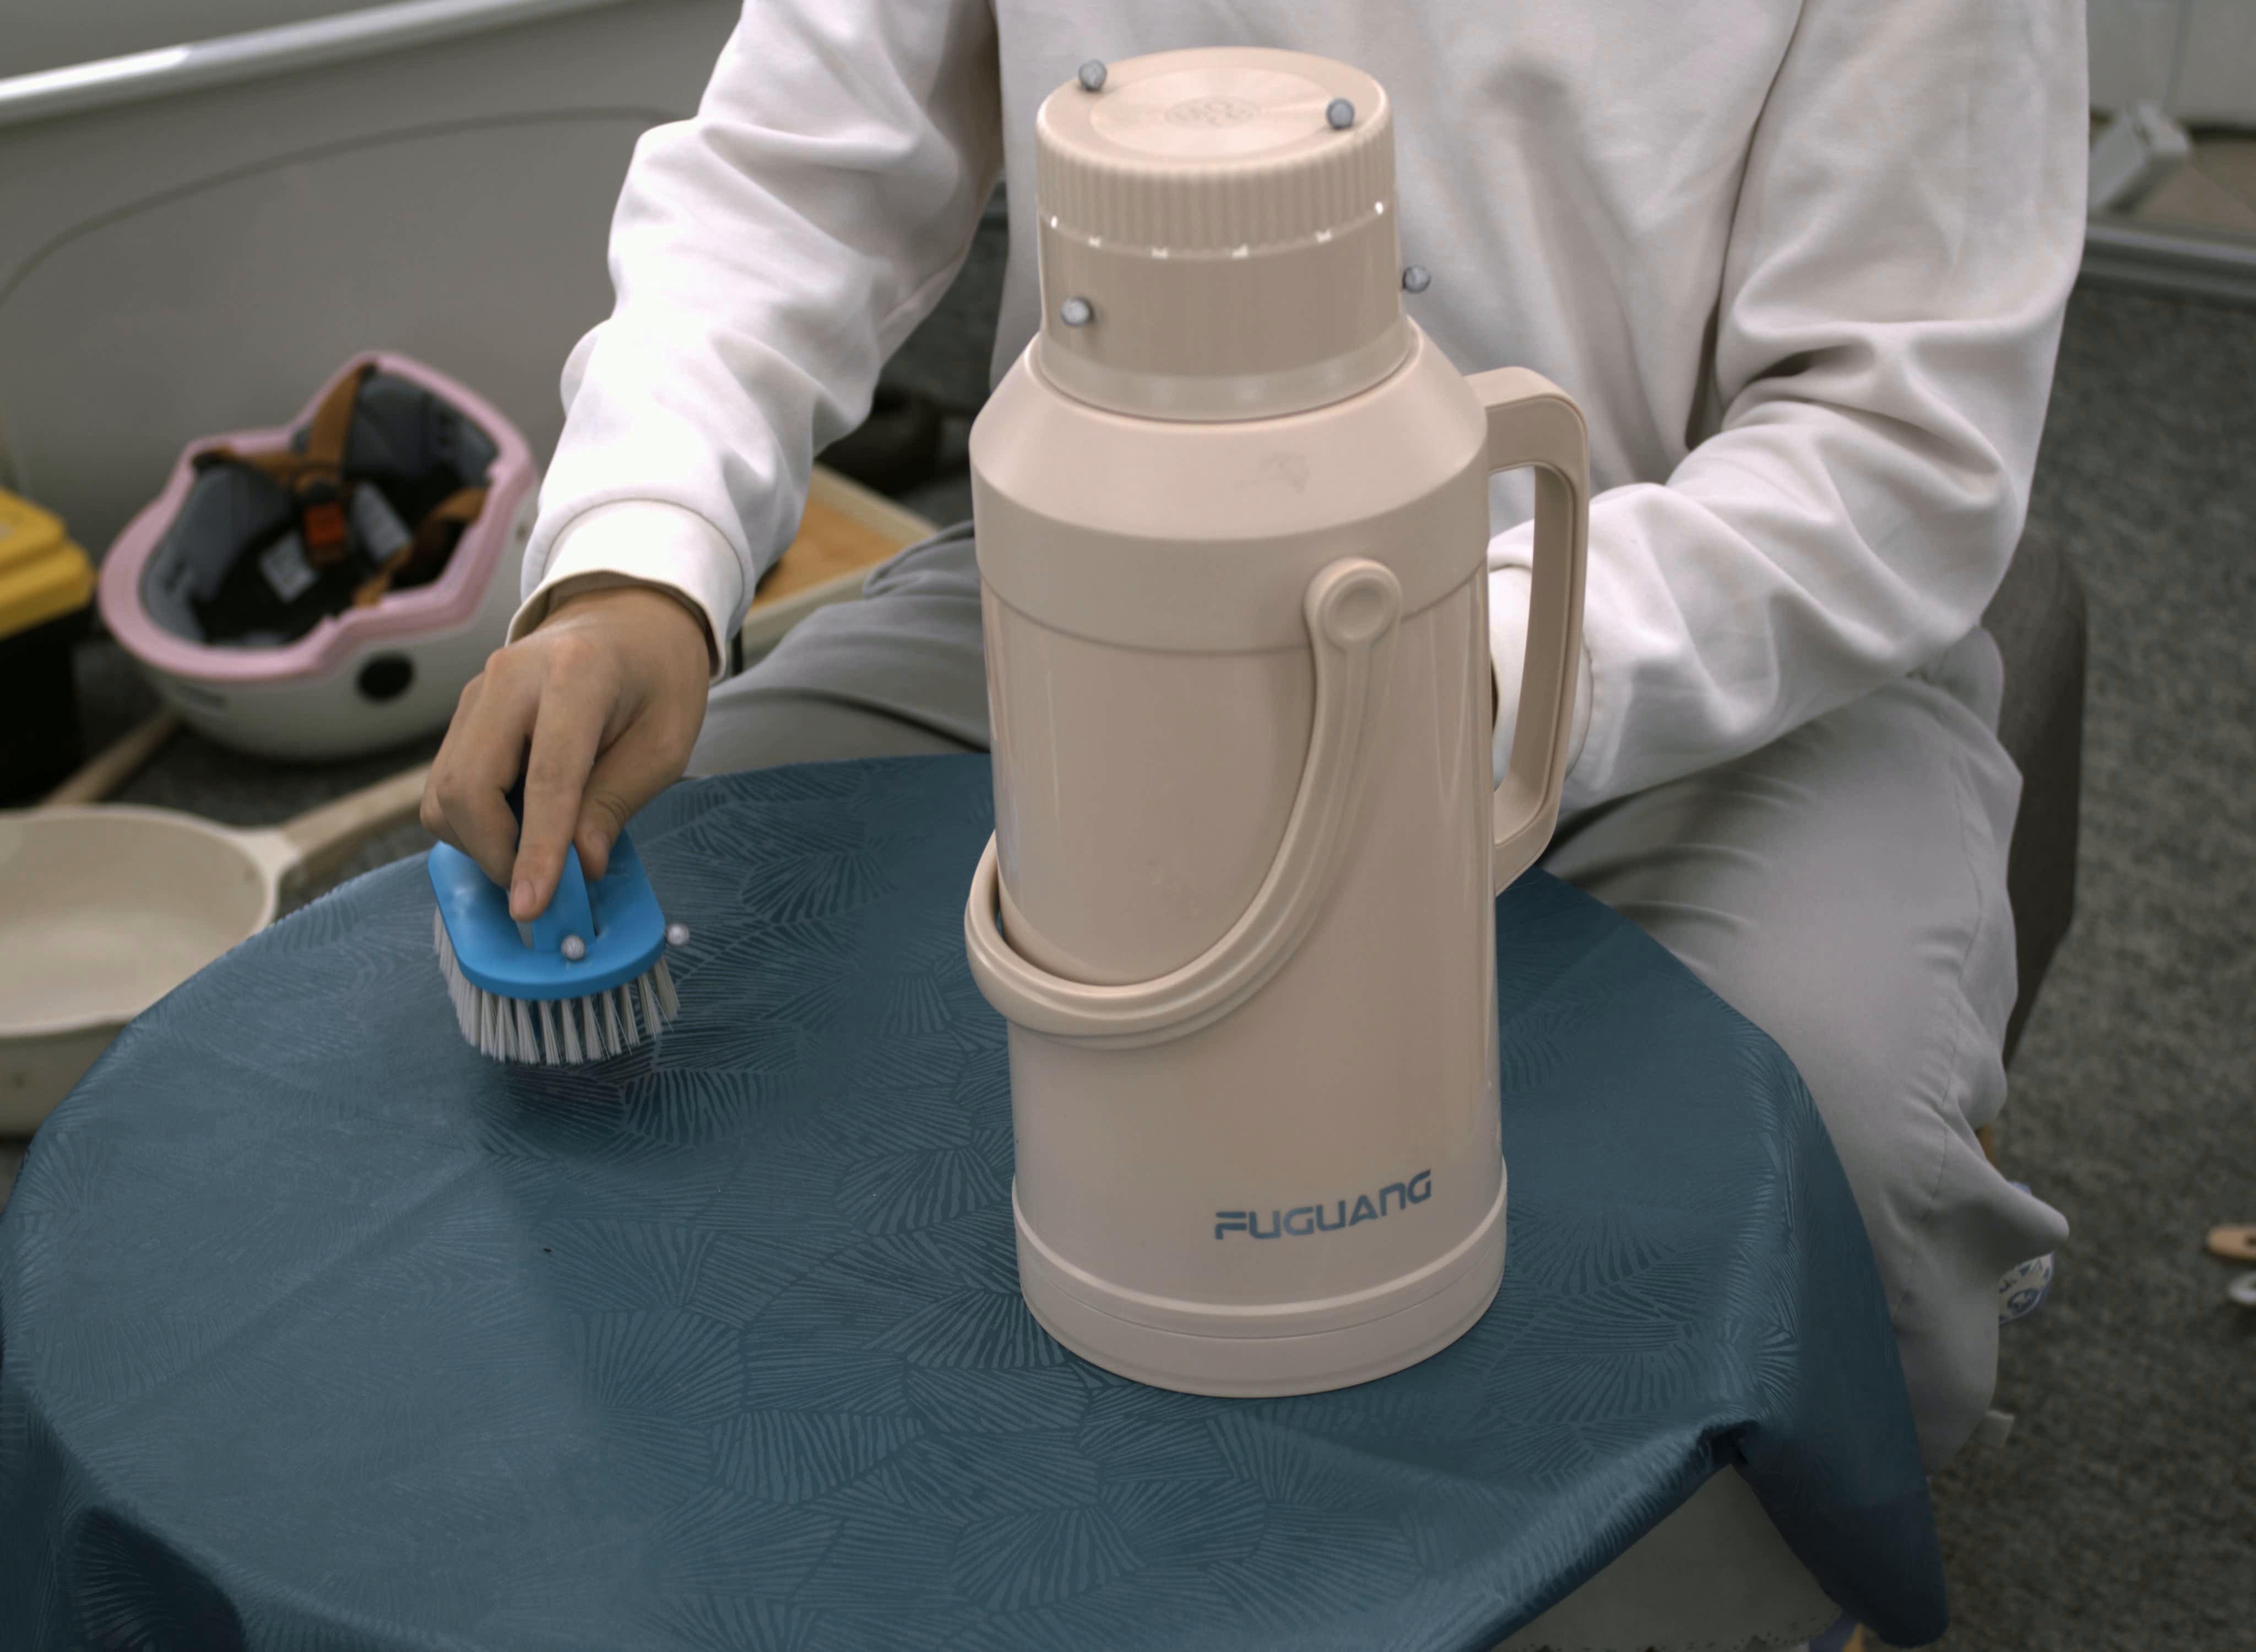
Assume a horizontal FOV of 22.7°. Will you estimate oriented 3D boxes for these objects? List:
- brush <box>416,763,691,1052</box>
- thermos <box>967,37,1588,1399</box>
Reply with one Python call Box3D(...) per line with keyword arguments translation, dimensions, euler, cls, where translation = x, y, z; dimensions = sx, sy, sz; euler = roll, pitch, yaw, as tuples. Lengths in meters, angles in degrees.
Box3D(translation=(-0.203, 0.020, 1.950), dimensions=(0.084, 0.063, 0.143), euler=(-12, 27, -10), cls="brush")
Box3D(translation=(0.048, -0.036, 1.739), dimensions=(0.208, 0.402, 0.176), euler=(-14, 27, -22), cls="thermos")
